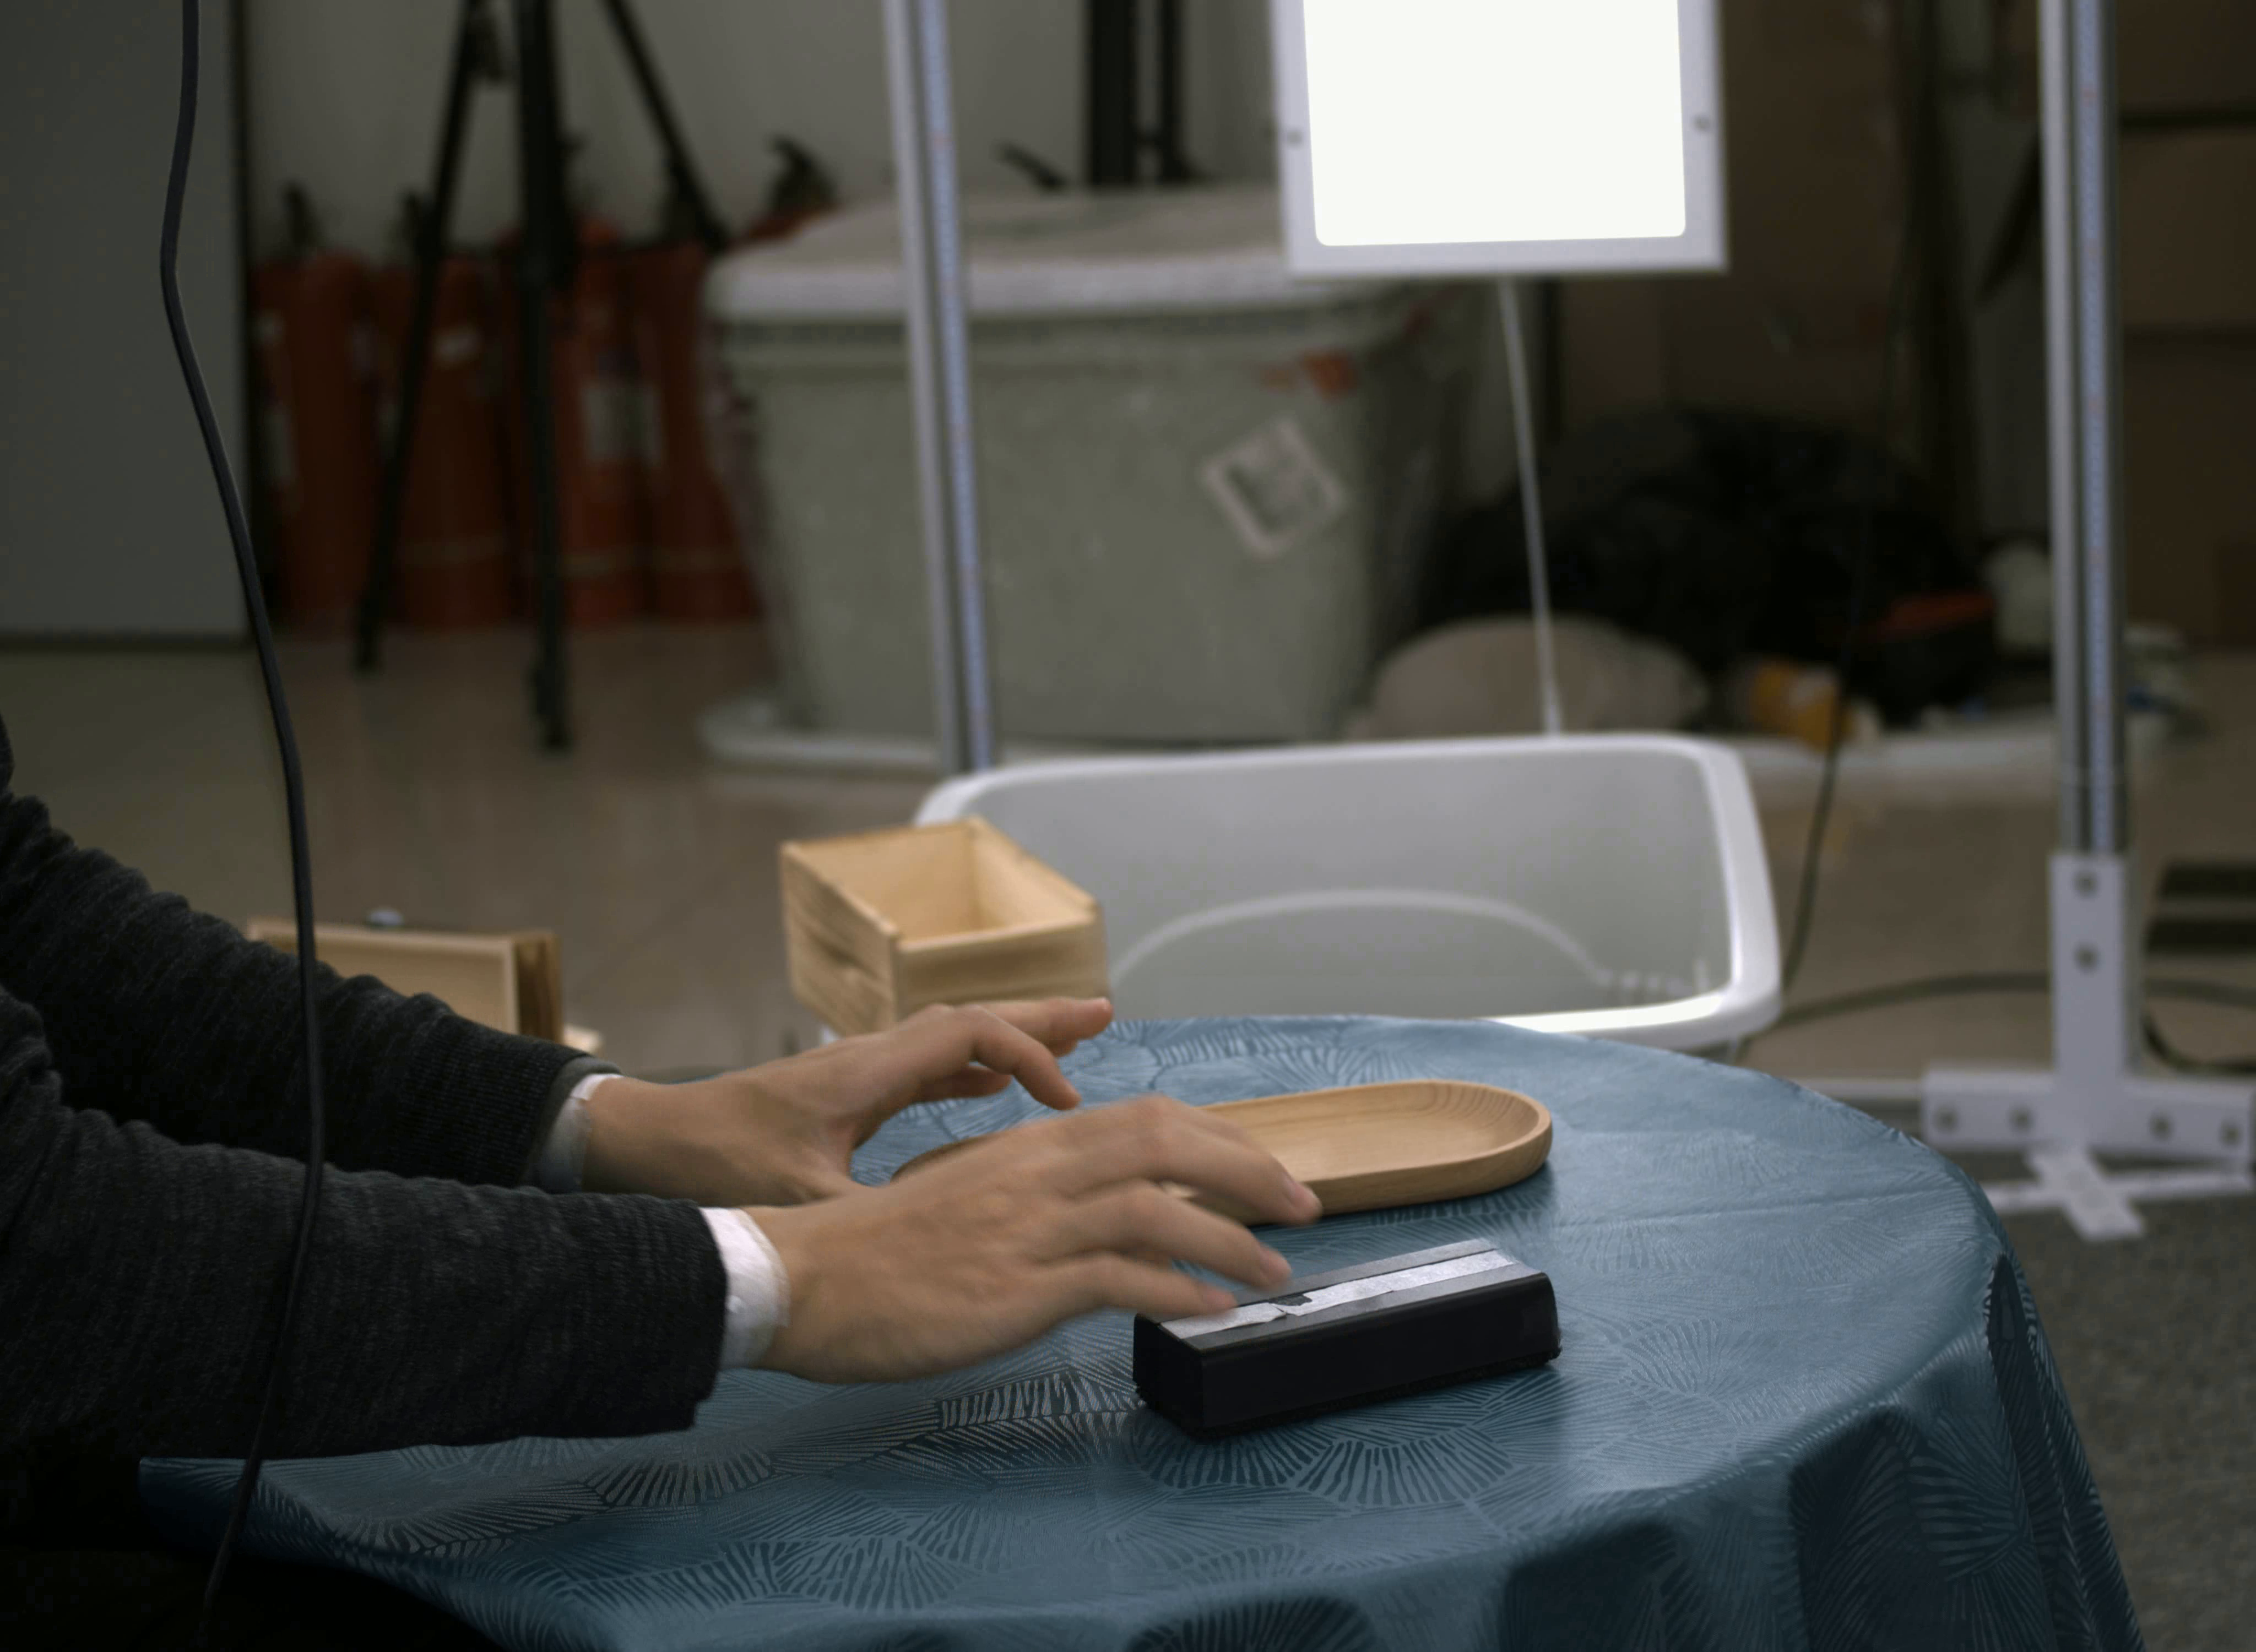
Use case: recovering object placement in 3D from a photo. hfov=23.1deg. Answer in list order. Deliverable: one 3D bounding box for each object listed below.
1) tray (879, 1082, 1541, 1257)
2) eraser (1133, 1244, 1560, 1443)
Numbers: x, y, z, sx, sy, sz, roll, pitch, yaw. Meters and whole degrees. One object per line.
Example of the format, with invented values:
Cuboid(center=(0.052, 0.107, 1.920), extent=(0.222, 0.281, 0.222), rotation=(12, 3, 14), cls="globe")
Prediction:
Cuboid(center=(0.029, 0.118, 1.889), extent=(0.229, 0.020, 0.102), rotation=(-9, 13, -8), cls="tray")
Cuboid(center=(0.068, 0.158, 1.688), extent=(0.123, 0.030, 0.054), rotation=(-12, 13, -21), cls="eraser")
